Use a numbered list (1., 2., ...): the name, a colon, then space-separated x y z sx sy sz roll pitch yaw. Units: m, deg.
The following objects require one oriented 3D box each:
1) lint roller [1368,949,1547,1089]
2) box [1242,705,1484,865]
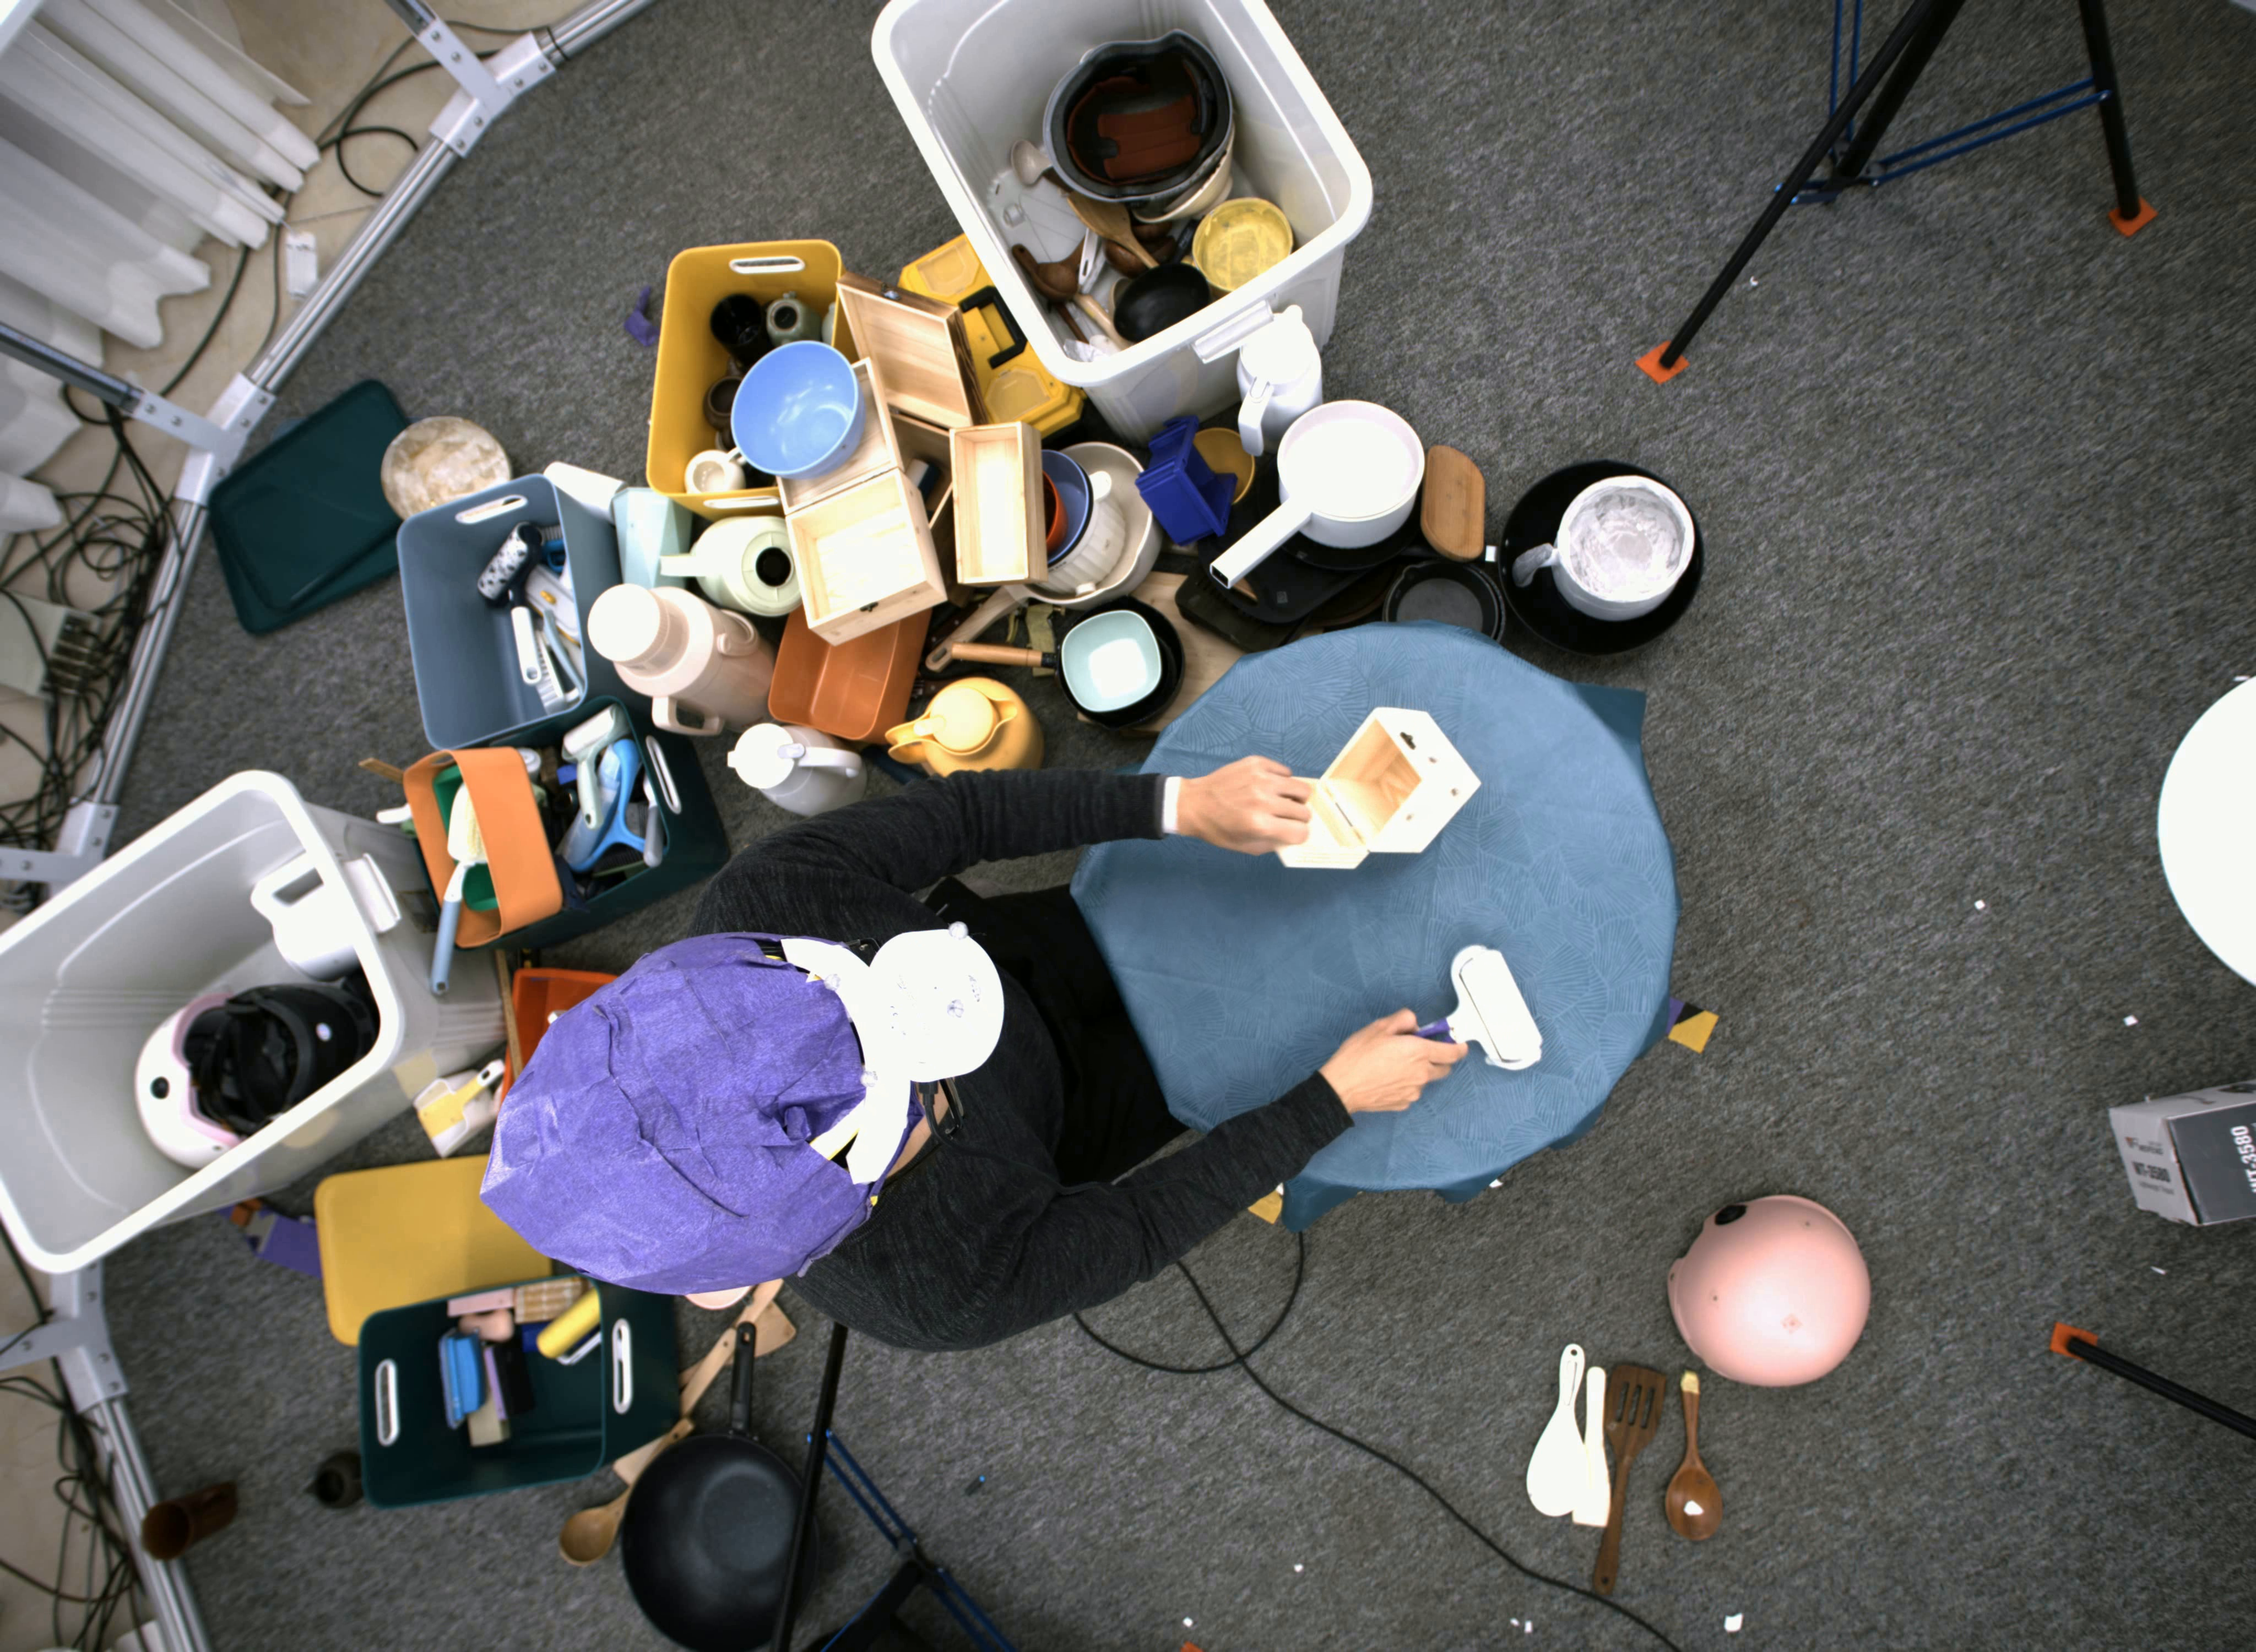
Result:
1. lint roller: 0.325 0.212 1.394 0.180 0.050 0.133 -26 91 -9
2. box: 0.229 -0.043 1.340 0.137 0.183 0.101 -54 52 35
